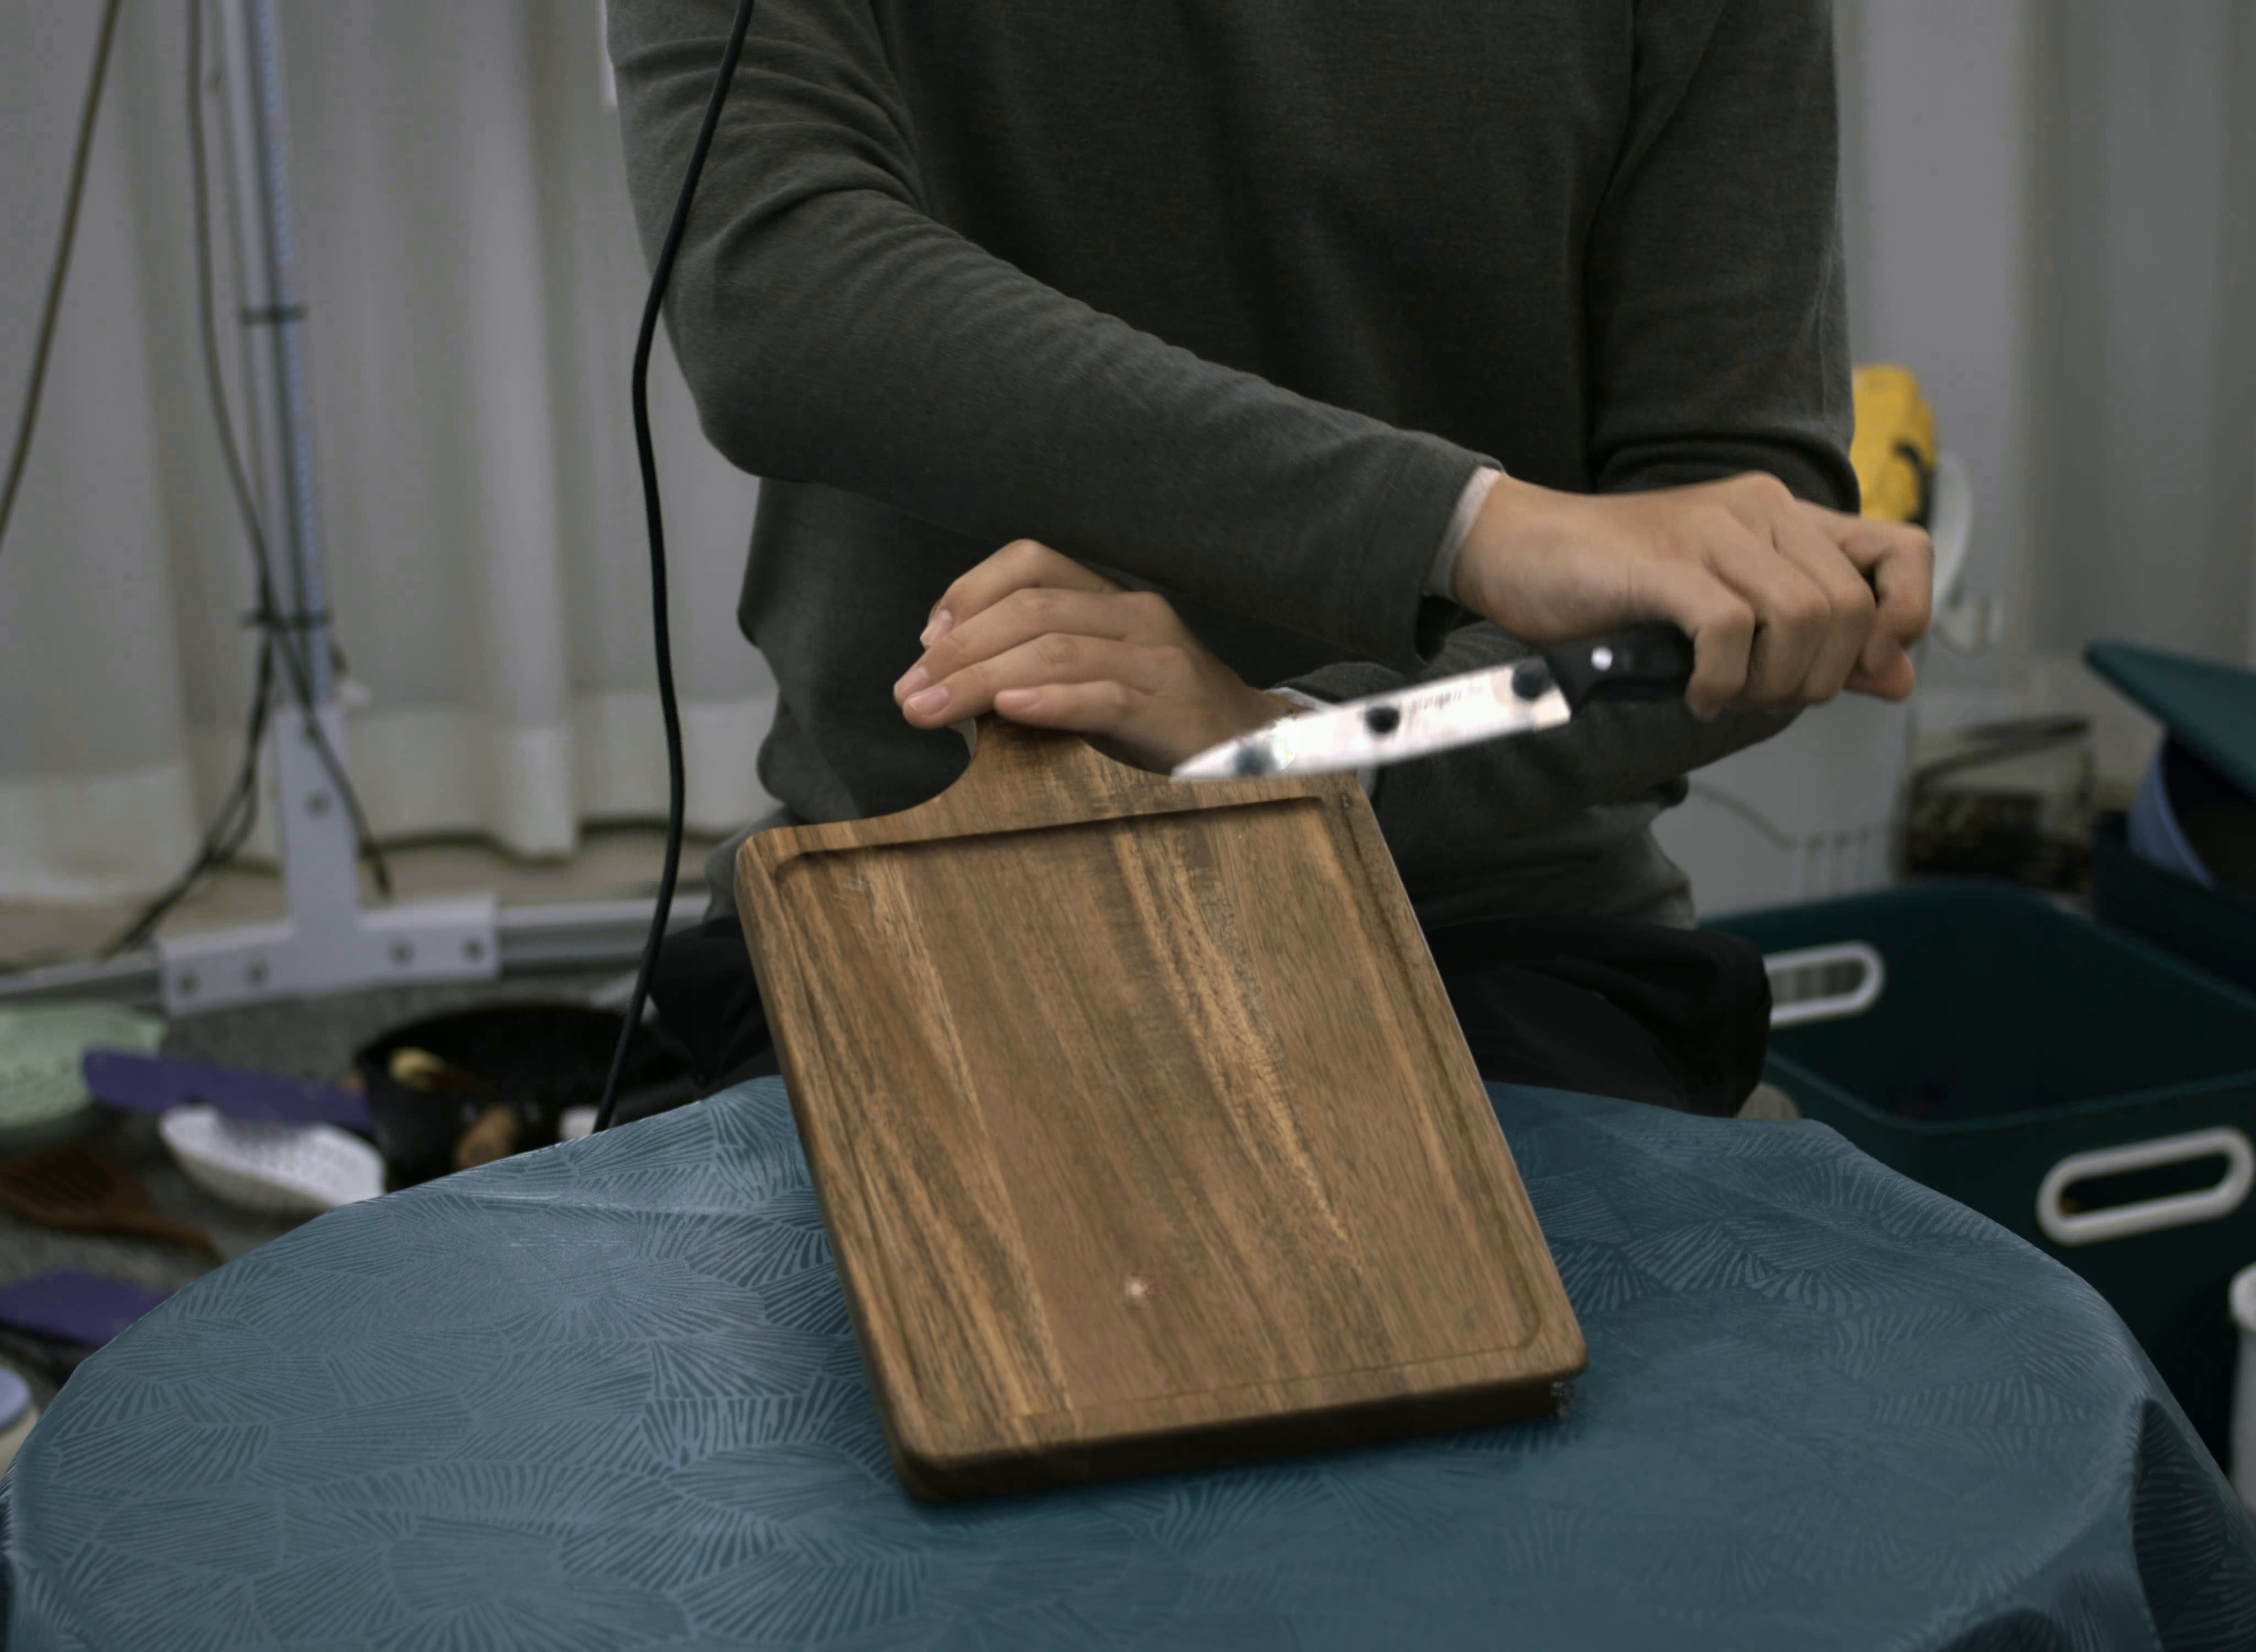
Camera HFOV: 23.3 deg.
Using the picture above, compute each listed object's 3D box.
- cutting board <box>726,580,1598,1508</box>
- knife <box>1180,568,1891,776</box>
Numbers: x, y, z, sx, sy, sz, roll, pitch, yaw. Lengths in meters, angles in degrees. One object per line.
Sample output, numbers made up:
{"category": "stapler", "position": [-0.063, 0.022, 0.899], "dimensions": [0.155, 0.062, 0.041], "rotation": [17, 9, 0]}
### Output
{"category": "cutting board", "position": [-0.007, 0.048, 1.608], "dimensions": [0.200, 0.023, 0.358], "rotation": [-7, 44, -13]}
{"category": "knife", "position": [0.120, -0.045, 1.616], "dimensions": [0.237, 0.016, 0.025], "rotation": [-14, 57, -22]}
